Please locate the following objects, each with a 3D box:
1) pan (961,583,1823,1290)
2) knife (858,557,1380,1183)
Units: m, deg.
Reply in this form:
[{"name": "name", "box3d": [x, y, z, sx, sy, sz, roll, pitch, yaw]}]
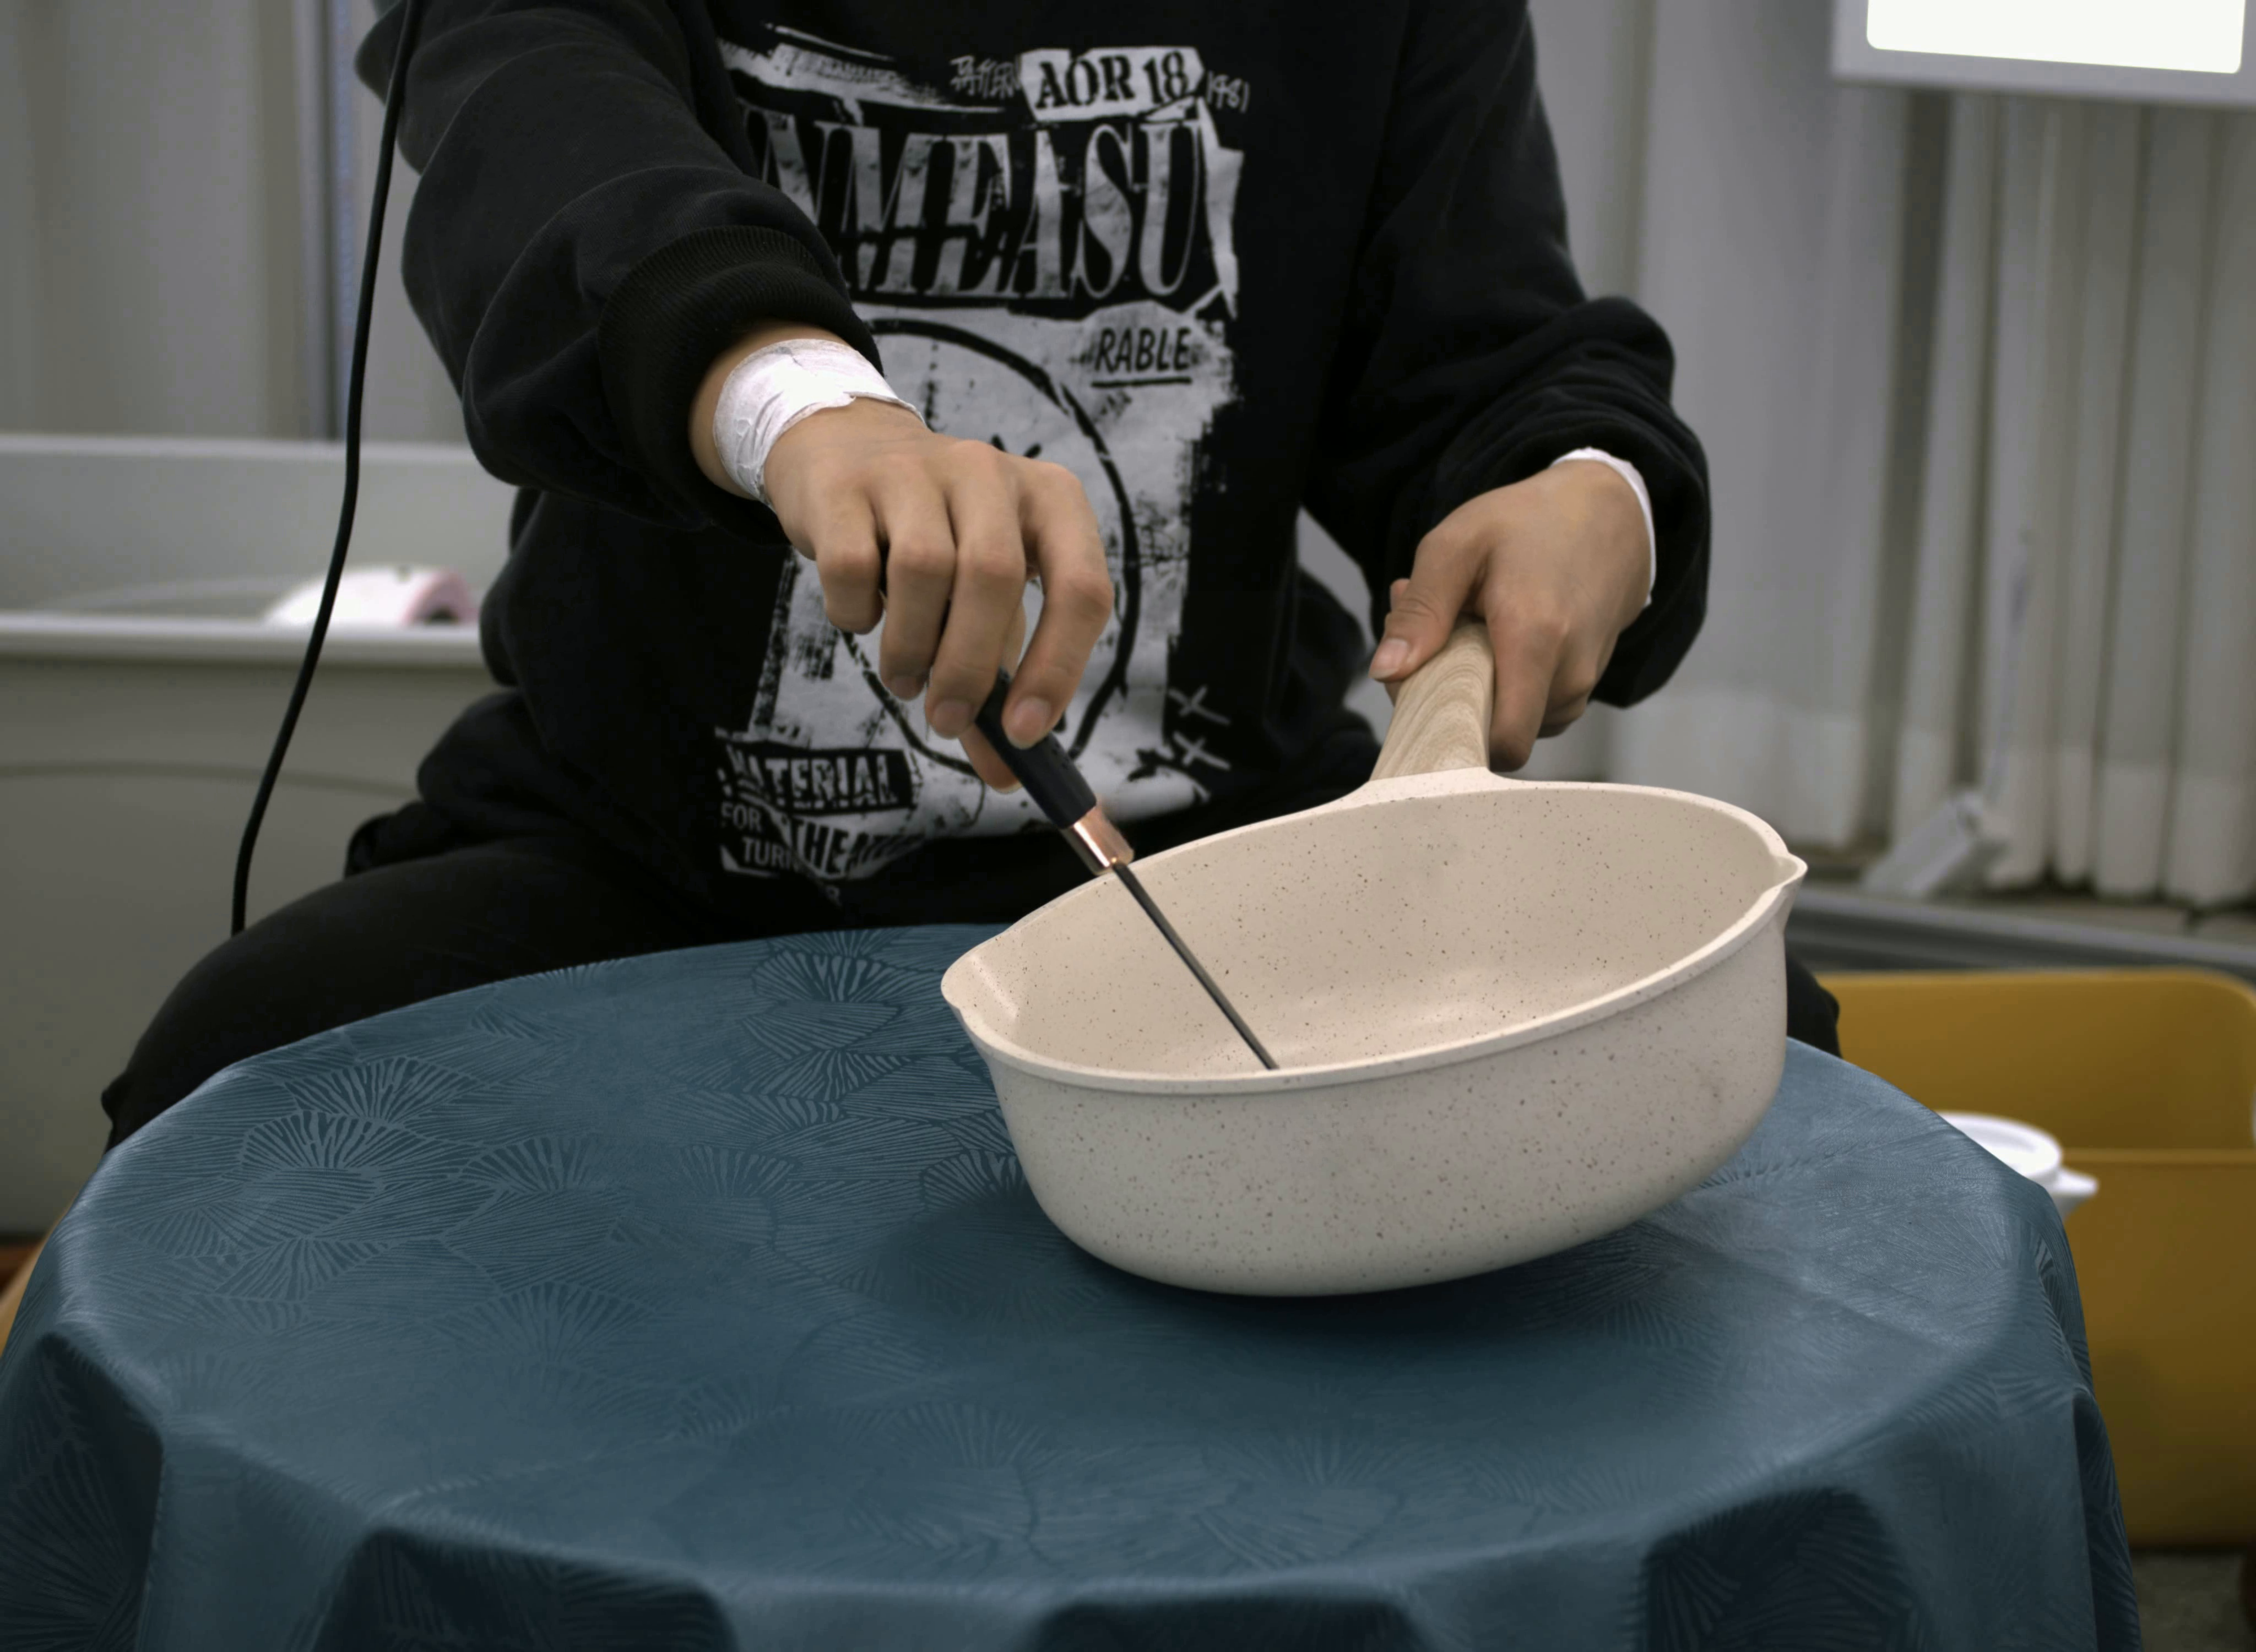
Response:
[{"name": "pan", "box3d": [0.098, 0.028, 1.663, 0.262, 0.103, 0.433, -9, 16, 12]}, {"name": "knife", "box3d": [-0.002, 0.013, 1.481, 0.017, 0.225, 0.026, -39, -5, -1]}]
